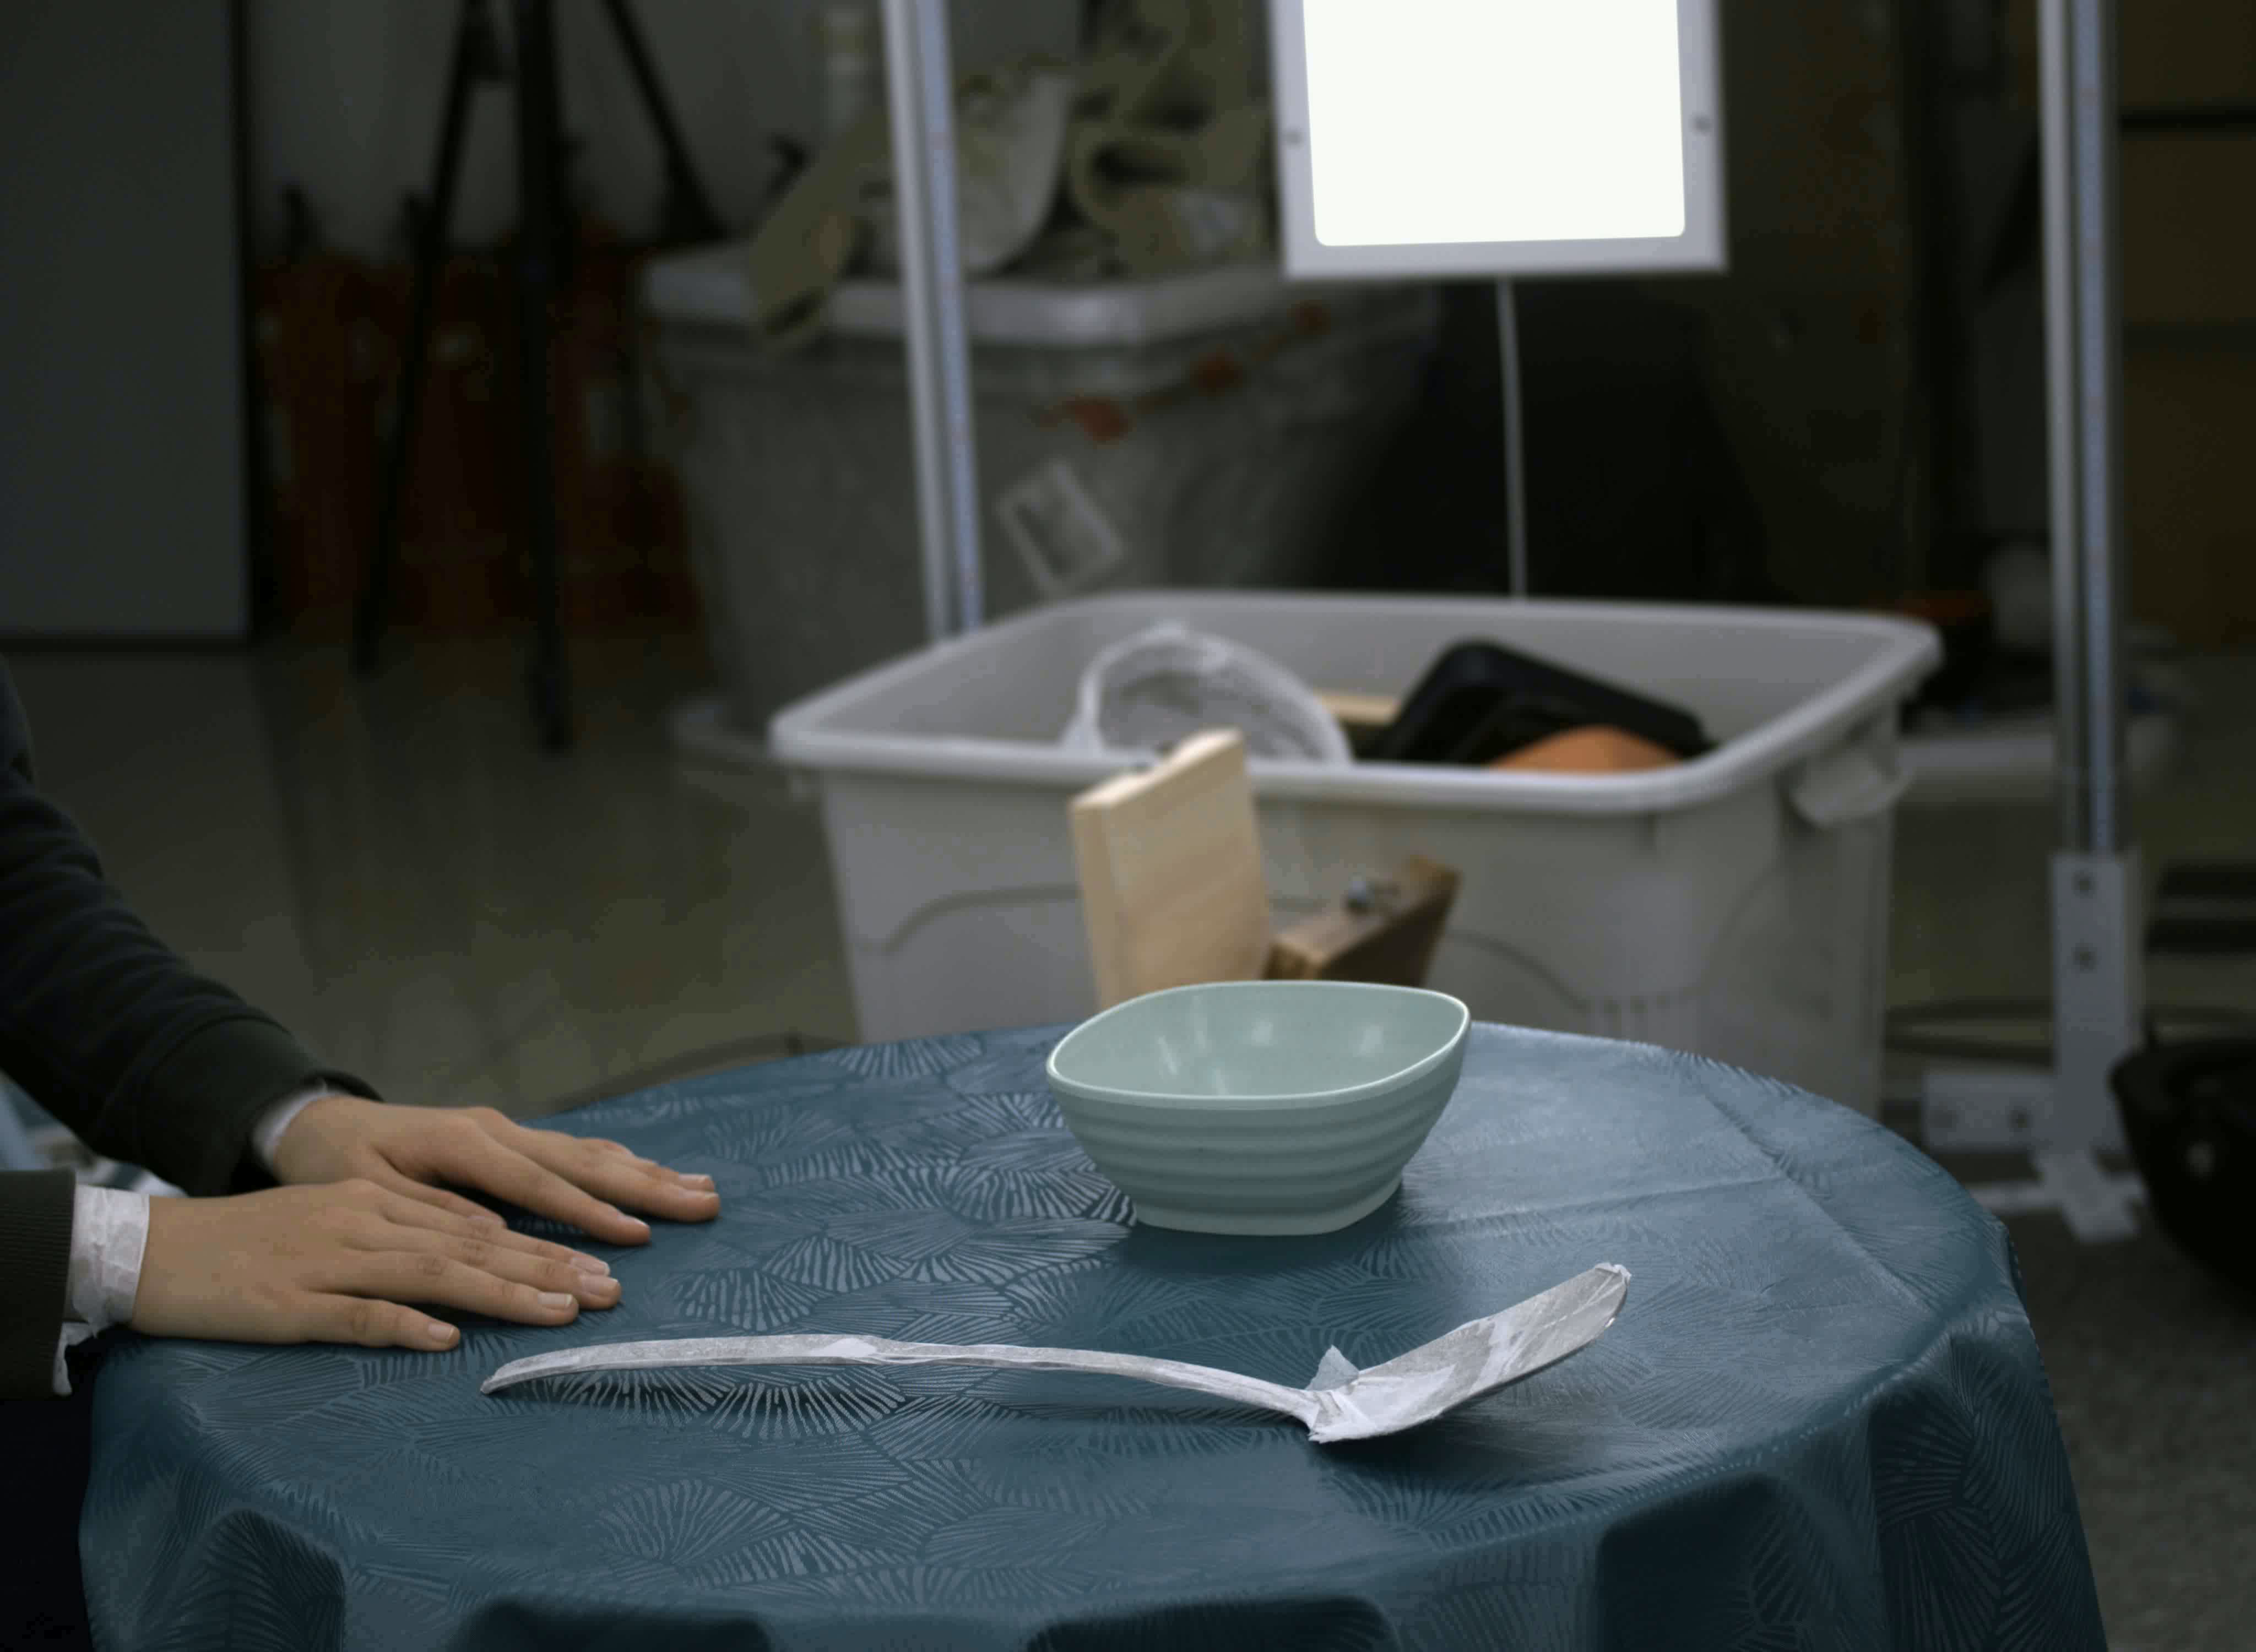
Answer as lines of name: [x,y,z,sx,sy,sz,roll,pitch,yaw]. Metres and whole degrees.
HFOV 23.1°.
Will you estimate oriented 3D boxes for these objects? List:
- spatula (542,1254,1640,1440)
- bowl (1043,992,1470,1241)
spatula: [-0.022,0.159,1.692,0.370,0.045,0.097,1,17,21]
bowl: [0.045,0.101,1.871,0.151,0.059,0.151,-4,12,-1]
